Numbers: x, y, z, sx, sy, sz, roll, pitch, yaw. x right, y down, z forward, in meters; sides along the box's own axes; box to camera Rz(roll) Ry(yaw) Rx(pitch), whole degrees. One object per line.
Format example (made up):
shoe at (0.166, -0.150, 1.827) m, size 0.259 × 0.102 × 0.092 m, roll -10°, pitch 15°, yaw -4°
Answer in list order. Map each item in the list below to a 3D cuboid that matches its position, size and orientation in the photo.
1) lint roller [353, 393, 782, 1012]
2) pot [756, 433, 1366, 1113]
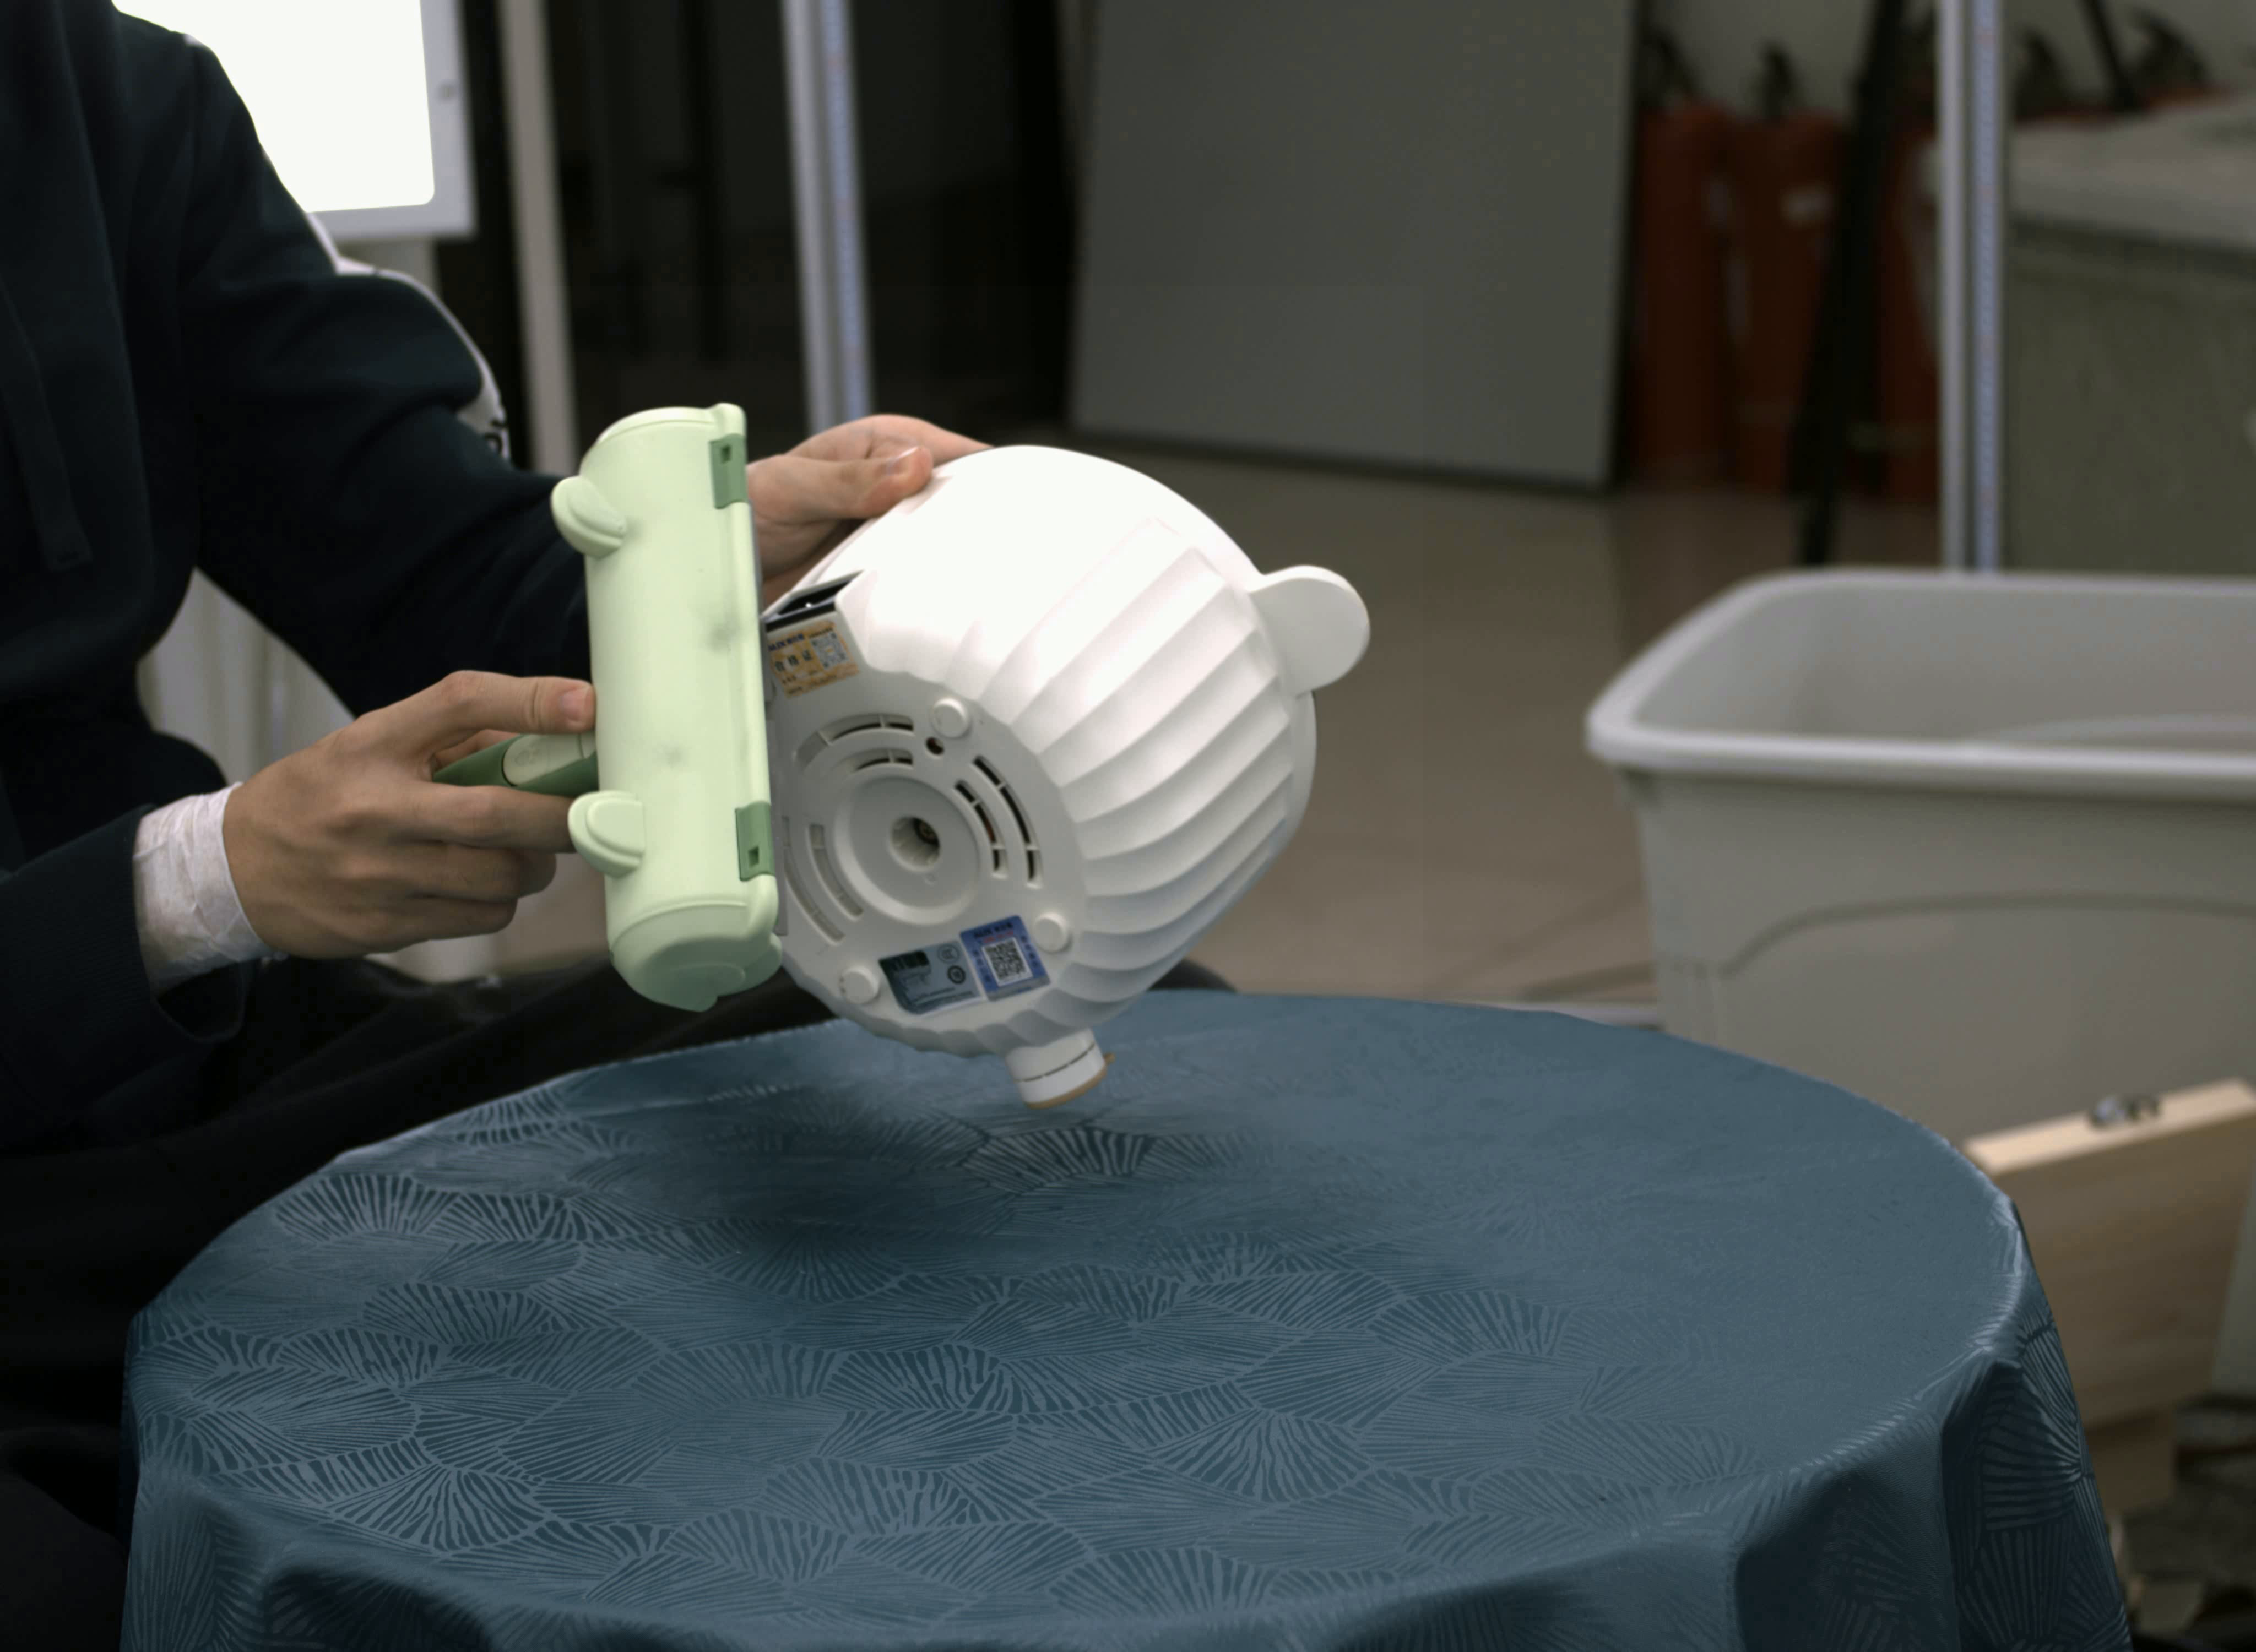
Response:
lint roller at (-0.190, -0.025, 1.712) m, size 0.184 × 0.201 × 0.081 m, roll -21°, pitch -34°, yaw 25°
pot at (-0.044, -0.015, 1.779) m, size 0.242 × 0.191 × 0.141 m, roll -16°, pitch 19°, yaw 33°
